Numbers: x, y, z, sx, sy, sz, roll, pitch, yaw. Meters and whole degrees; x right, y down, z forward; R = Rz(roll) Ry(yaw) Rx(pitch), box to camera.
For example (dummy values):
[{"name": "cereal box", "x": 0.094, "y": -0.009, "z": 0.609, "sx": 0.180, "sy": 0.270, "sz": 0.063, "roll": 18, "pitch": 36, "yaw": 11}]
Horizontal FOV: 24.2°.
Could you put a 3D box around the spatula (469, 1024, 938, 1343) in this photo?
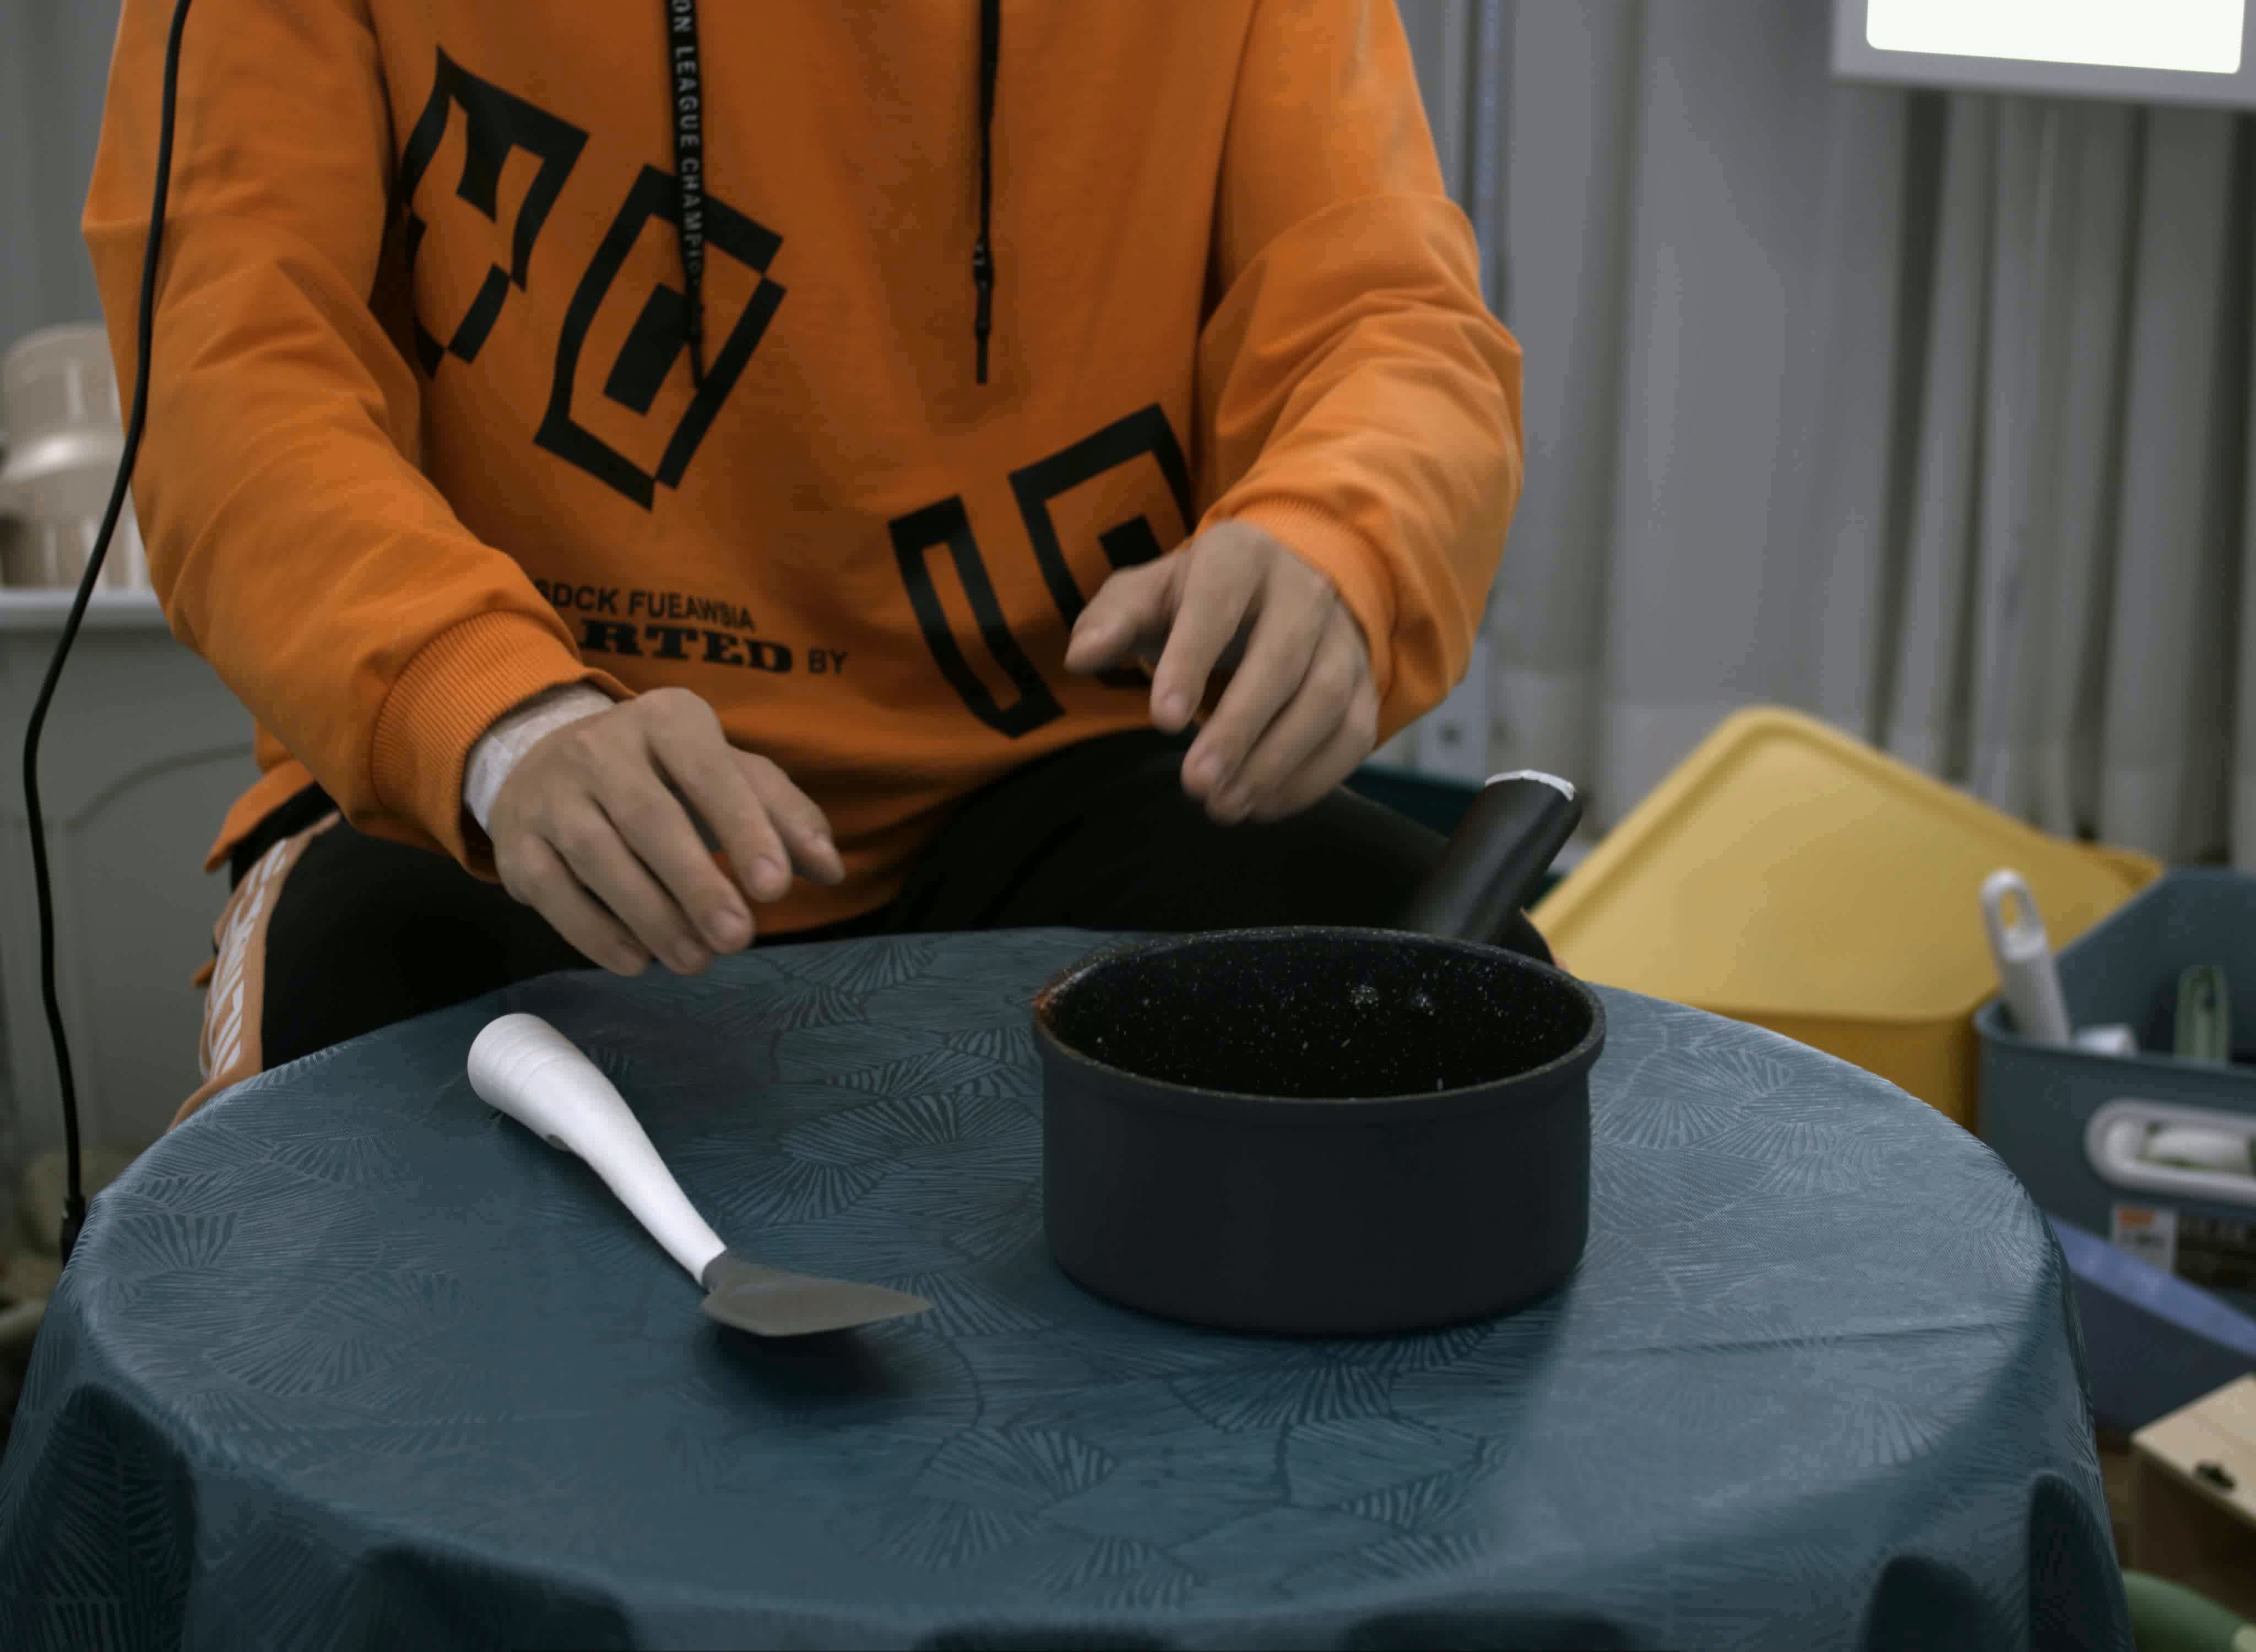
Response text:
[{"name": "spatula", "x": -0.134, "y": 0.111, "z": 1.563, "sx": 0.059, "sy": 0.032, "sz": 0.284, "roll": -3, "pitch": 15, "yaw": -26}]

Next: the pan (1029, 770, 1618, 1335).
[{"name": "pan", "x": 0.085, "y": 0.066, "z": 1.634, "sx": 0.170, "sy": 0.087, "sz": 0.329, "roll": 7, "pitch": 19, "yaw": 21}]
